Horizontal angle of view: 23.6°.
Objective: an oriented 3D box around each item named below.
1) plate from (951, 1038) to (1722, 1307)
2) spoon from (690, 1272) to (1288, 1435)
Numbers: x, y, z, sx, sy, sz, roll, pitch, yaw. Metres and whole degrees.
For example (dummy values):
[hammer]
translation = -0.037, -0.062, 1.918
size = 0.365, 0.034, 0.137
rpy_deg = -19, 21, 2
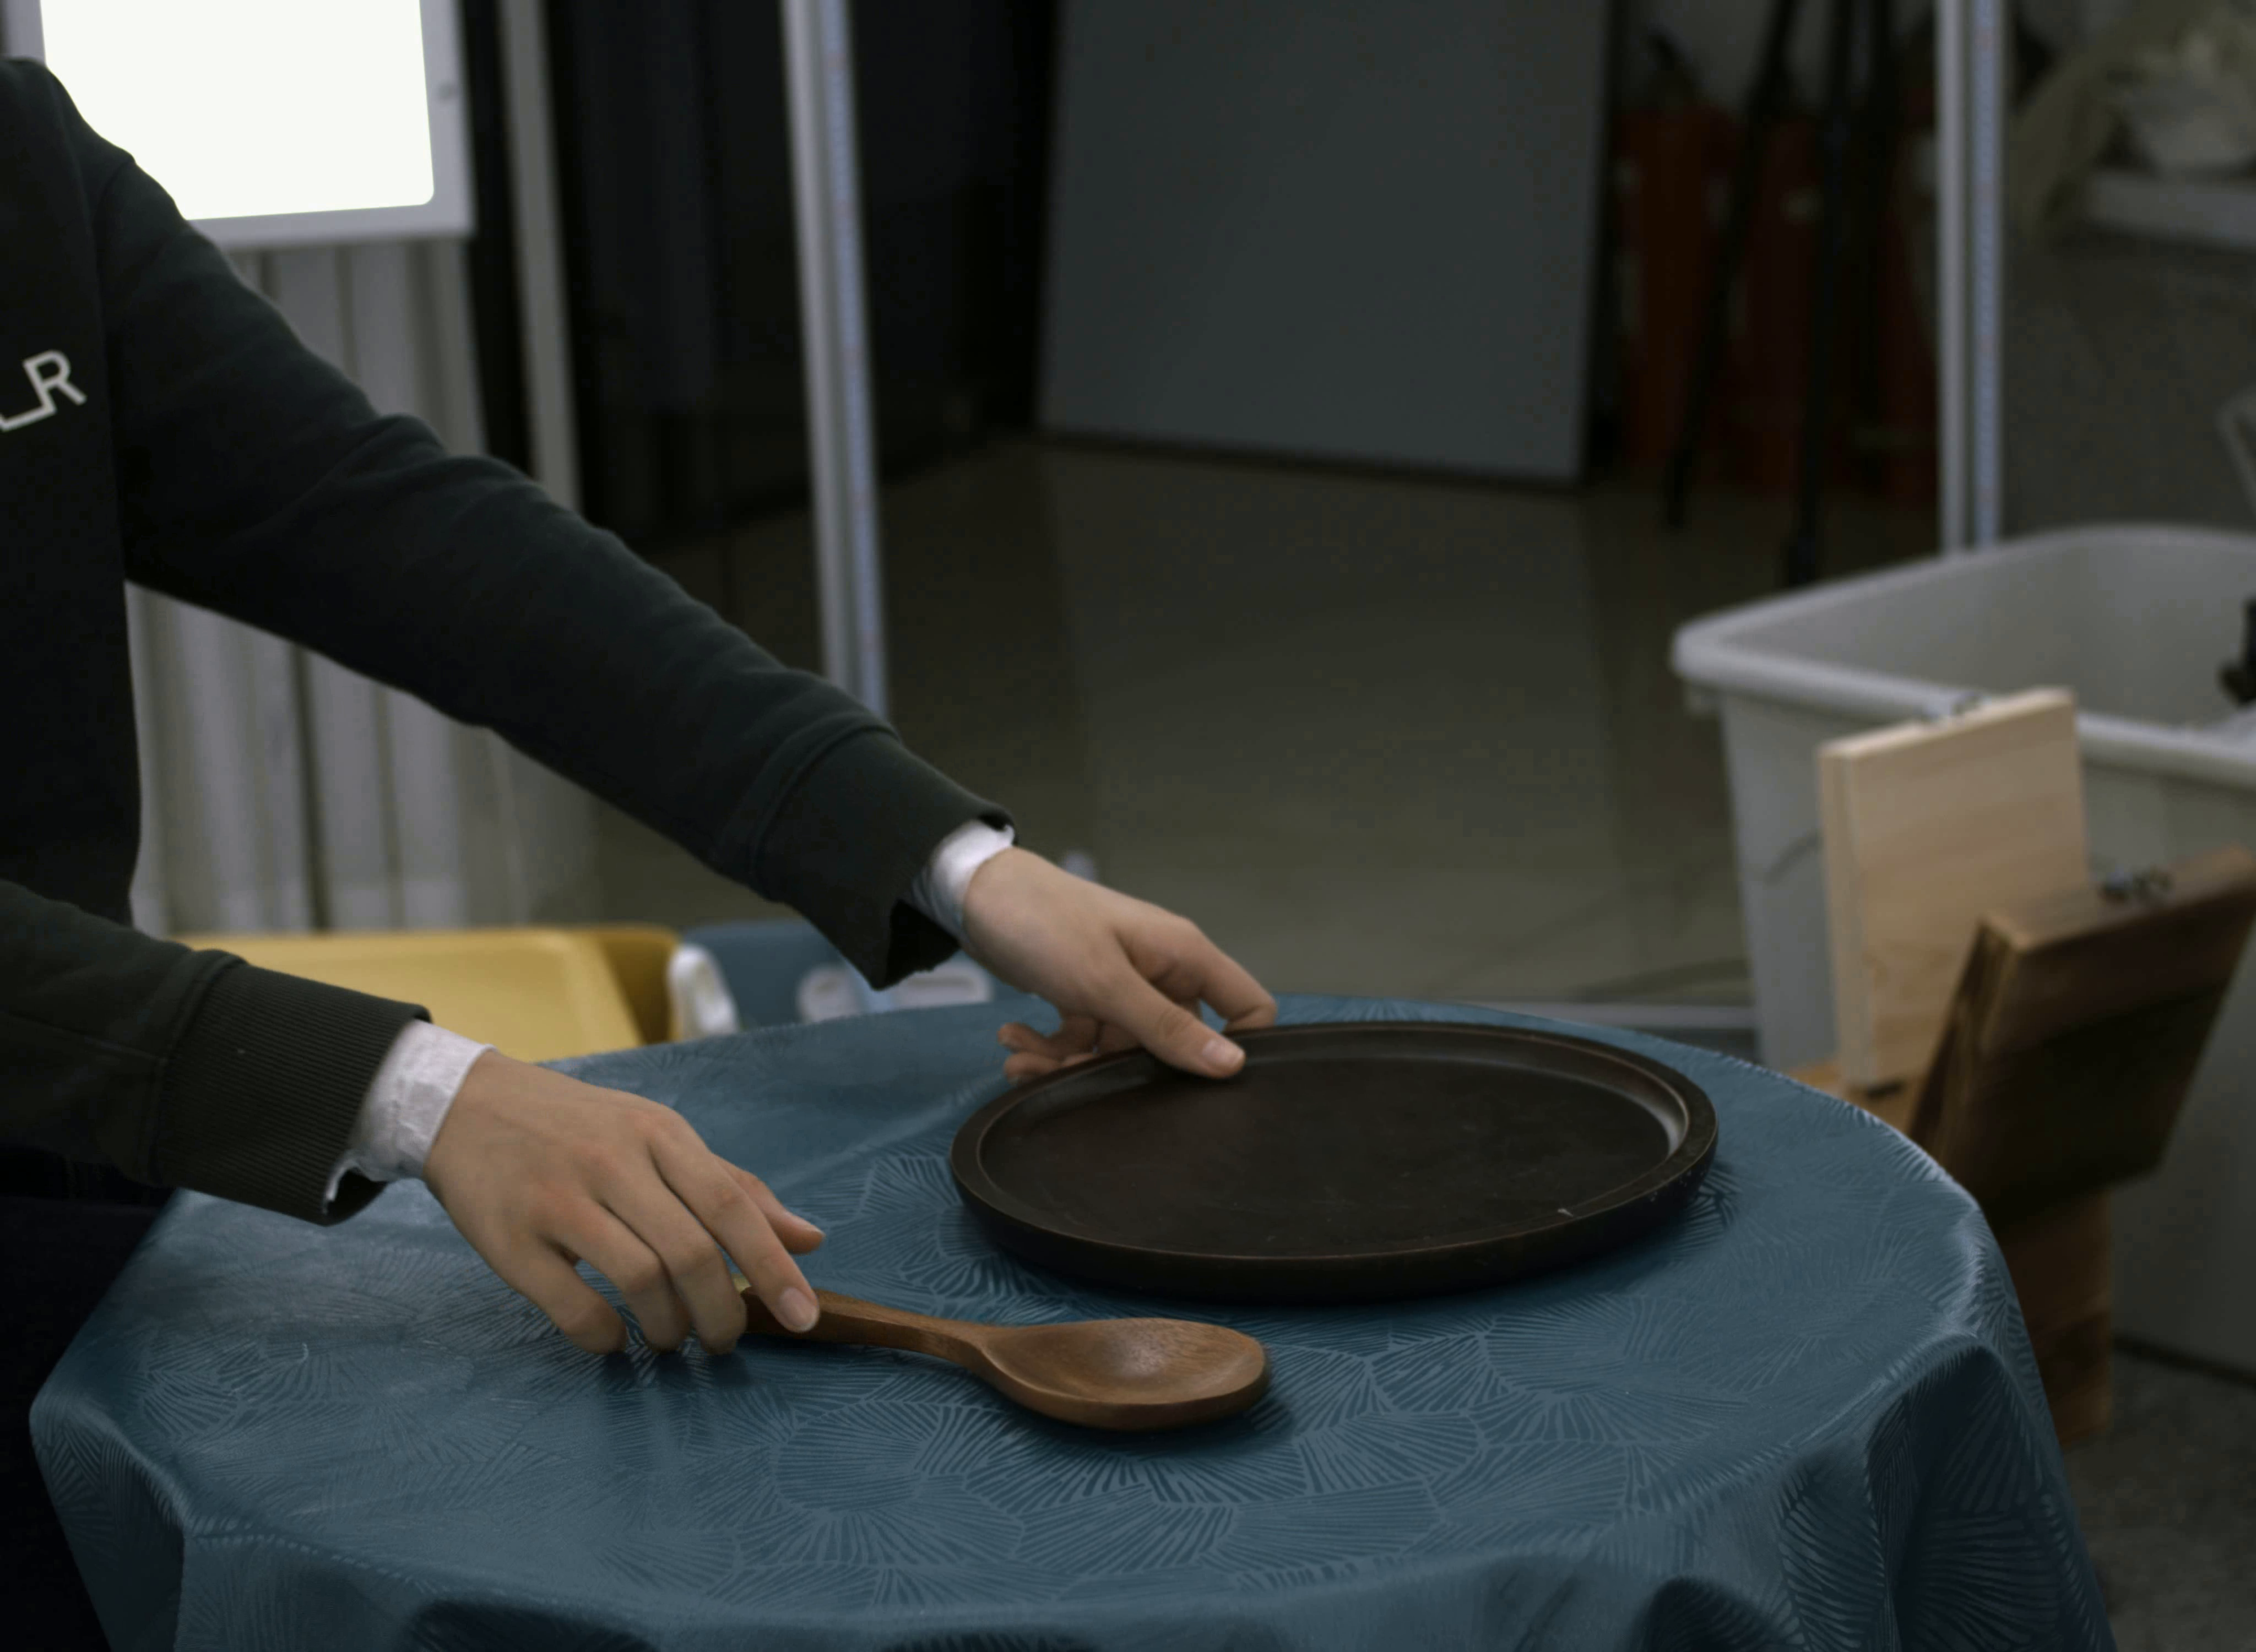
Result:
[plate]
translation = 0.068, 0.110, 1.753
size = 0.251, 0.029, 0.255
rpy_deg = -3, 14, 0
[spoon]
translation = -0.046, 0.156, 1.609
size = 0.217, 0.017, 0.074
rpy_deg = 7, 18, 37
